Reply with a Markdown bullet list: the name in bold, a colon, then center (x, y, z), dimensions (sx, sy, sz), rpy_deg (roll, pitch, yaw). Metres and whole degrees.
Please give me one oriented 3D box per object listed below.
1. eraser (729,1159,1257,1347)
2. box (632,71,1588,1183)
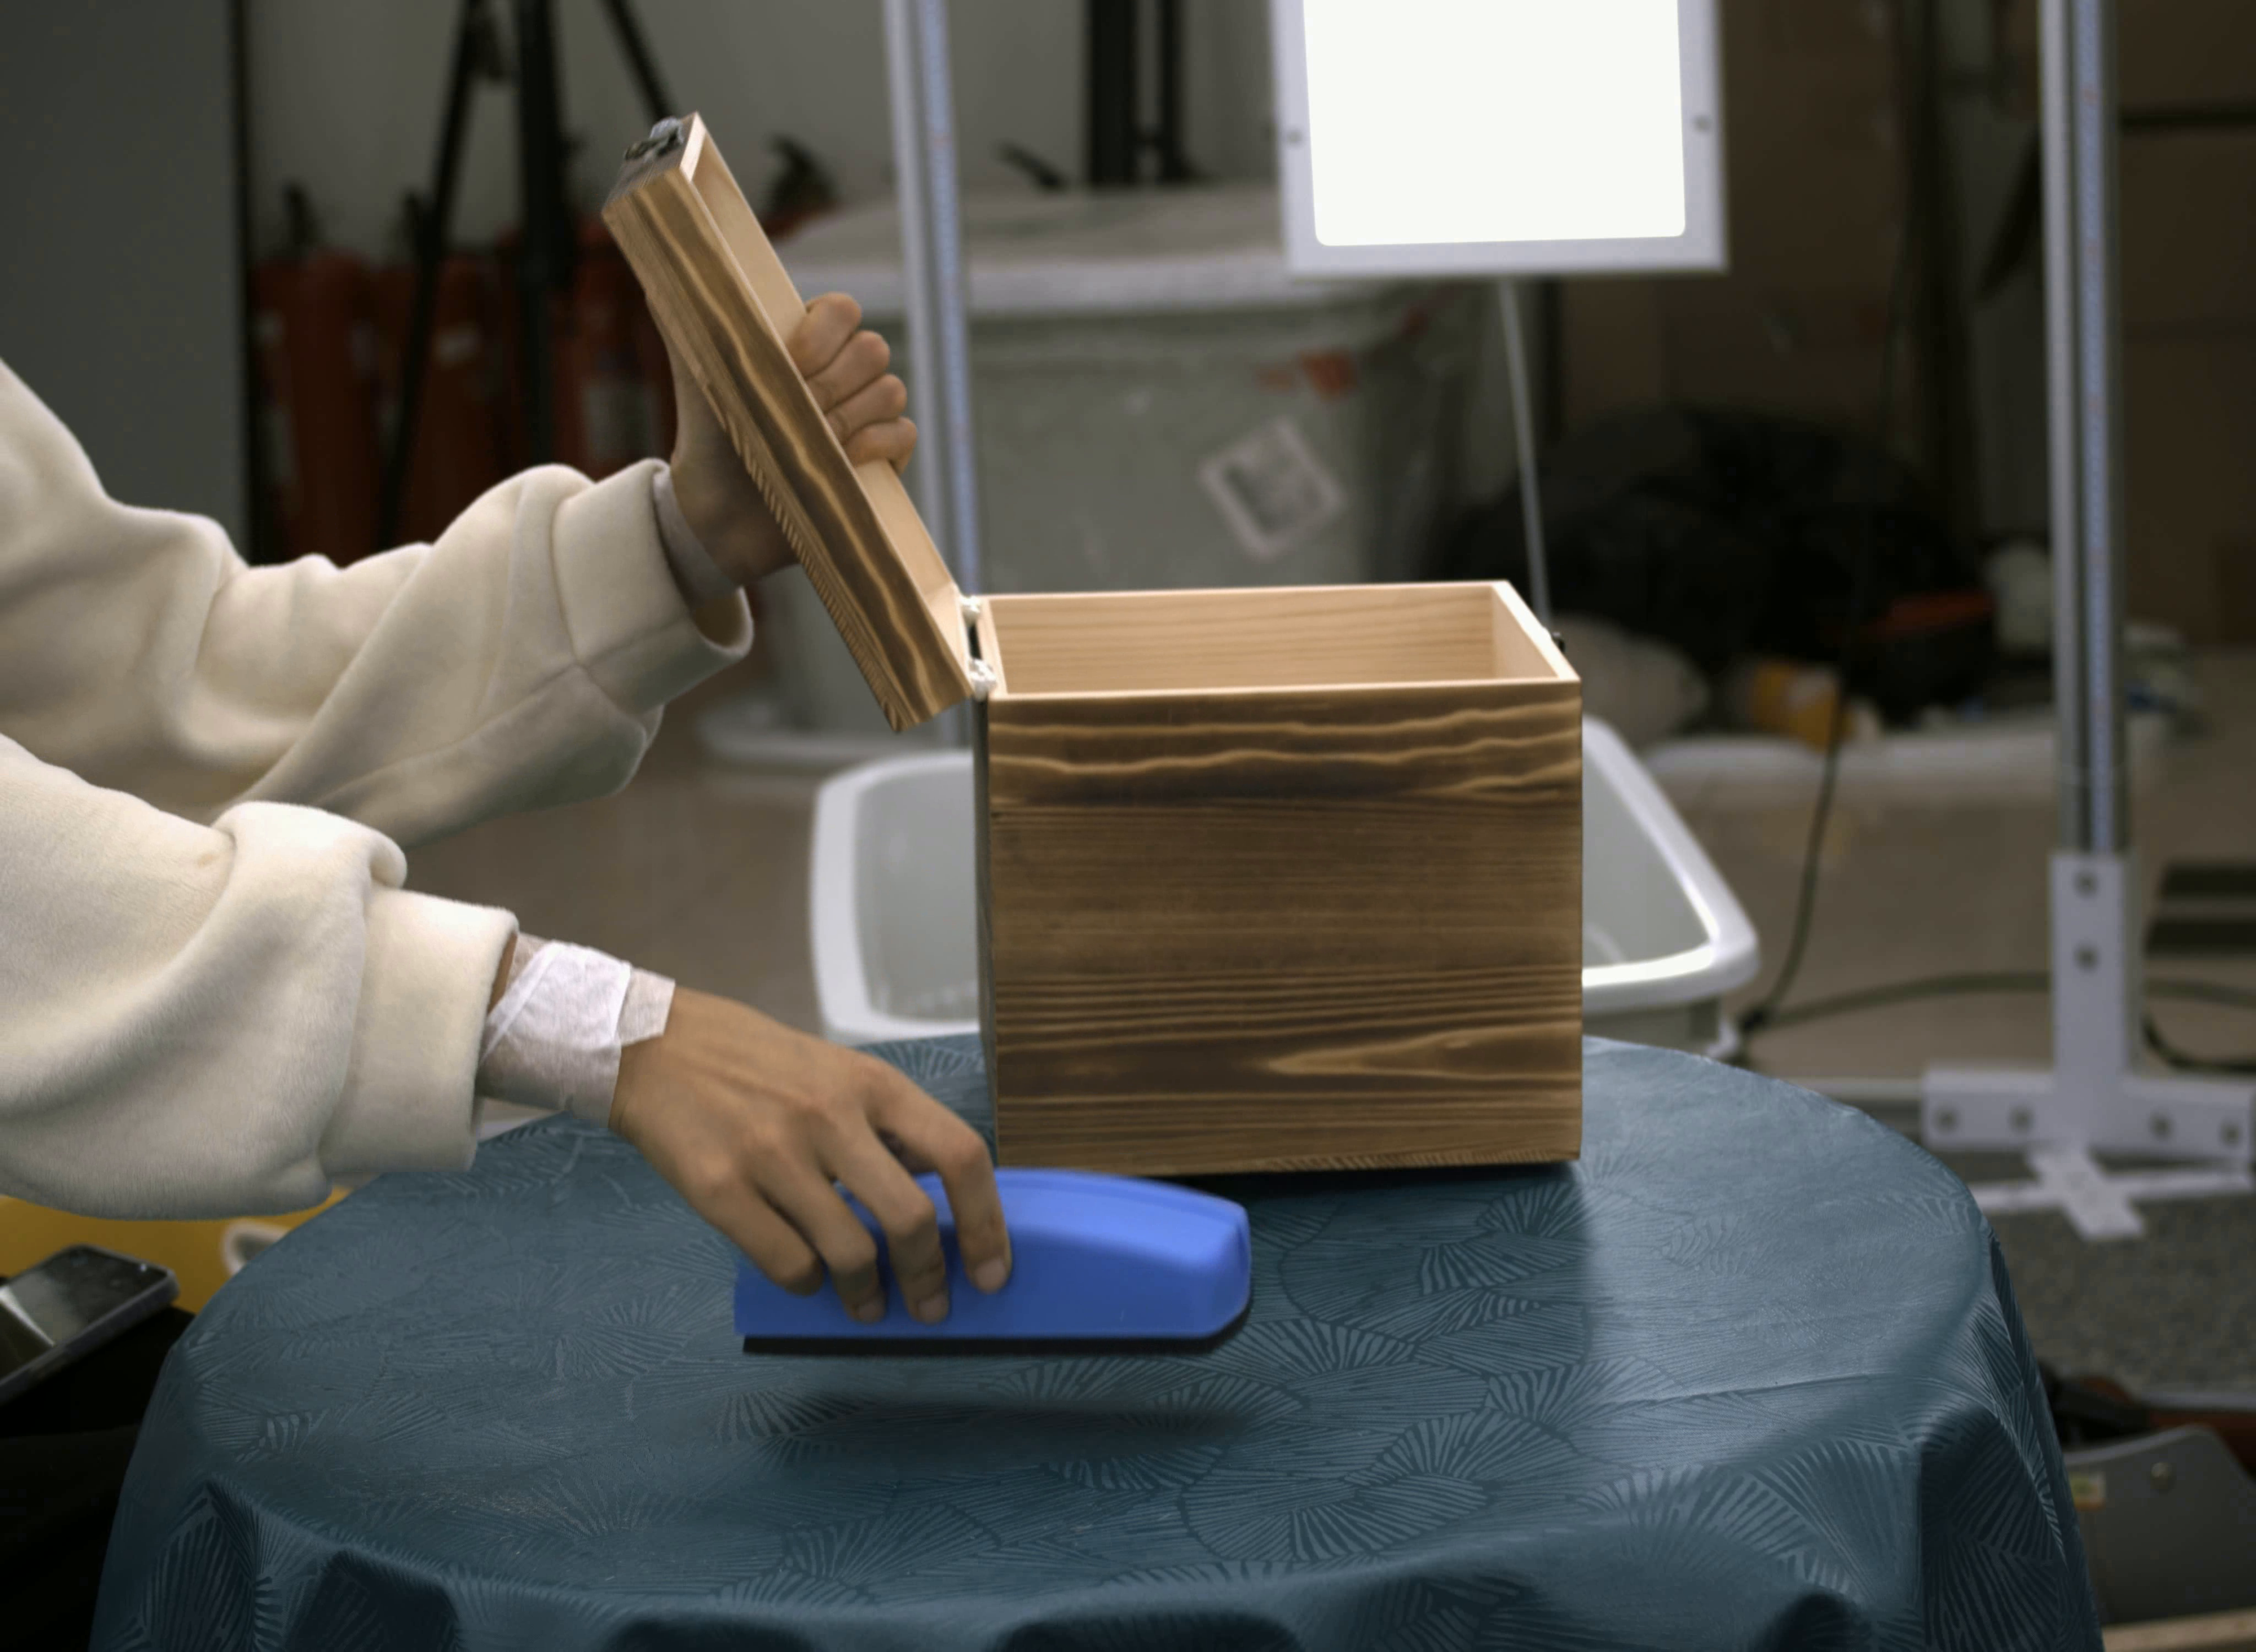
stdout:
- **eraser**: center (-0.042, 0.129, 1.678), dimensions (0.164, 0.048, 0.053), rpy_deg (-2, 17, 20)
- **box**: center (-0.005, -0.077, 1.924), dimensions (0.321, 0.377, 0.208), rpy_deg (-2, 13, -1)
